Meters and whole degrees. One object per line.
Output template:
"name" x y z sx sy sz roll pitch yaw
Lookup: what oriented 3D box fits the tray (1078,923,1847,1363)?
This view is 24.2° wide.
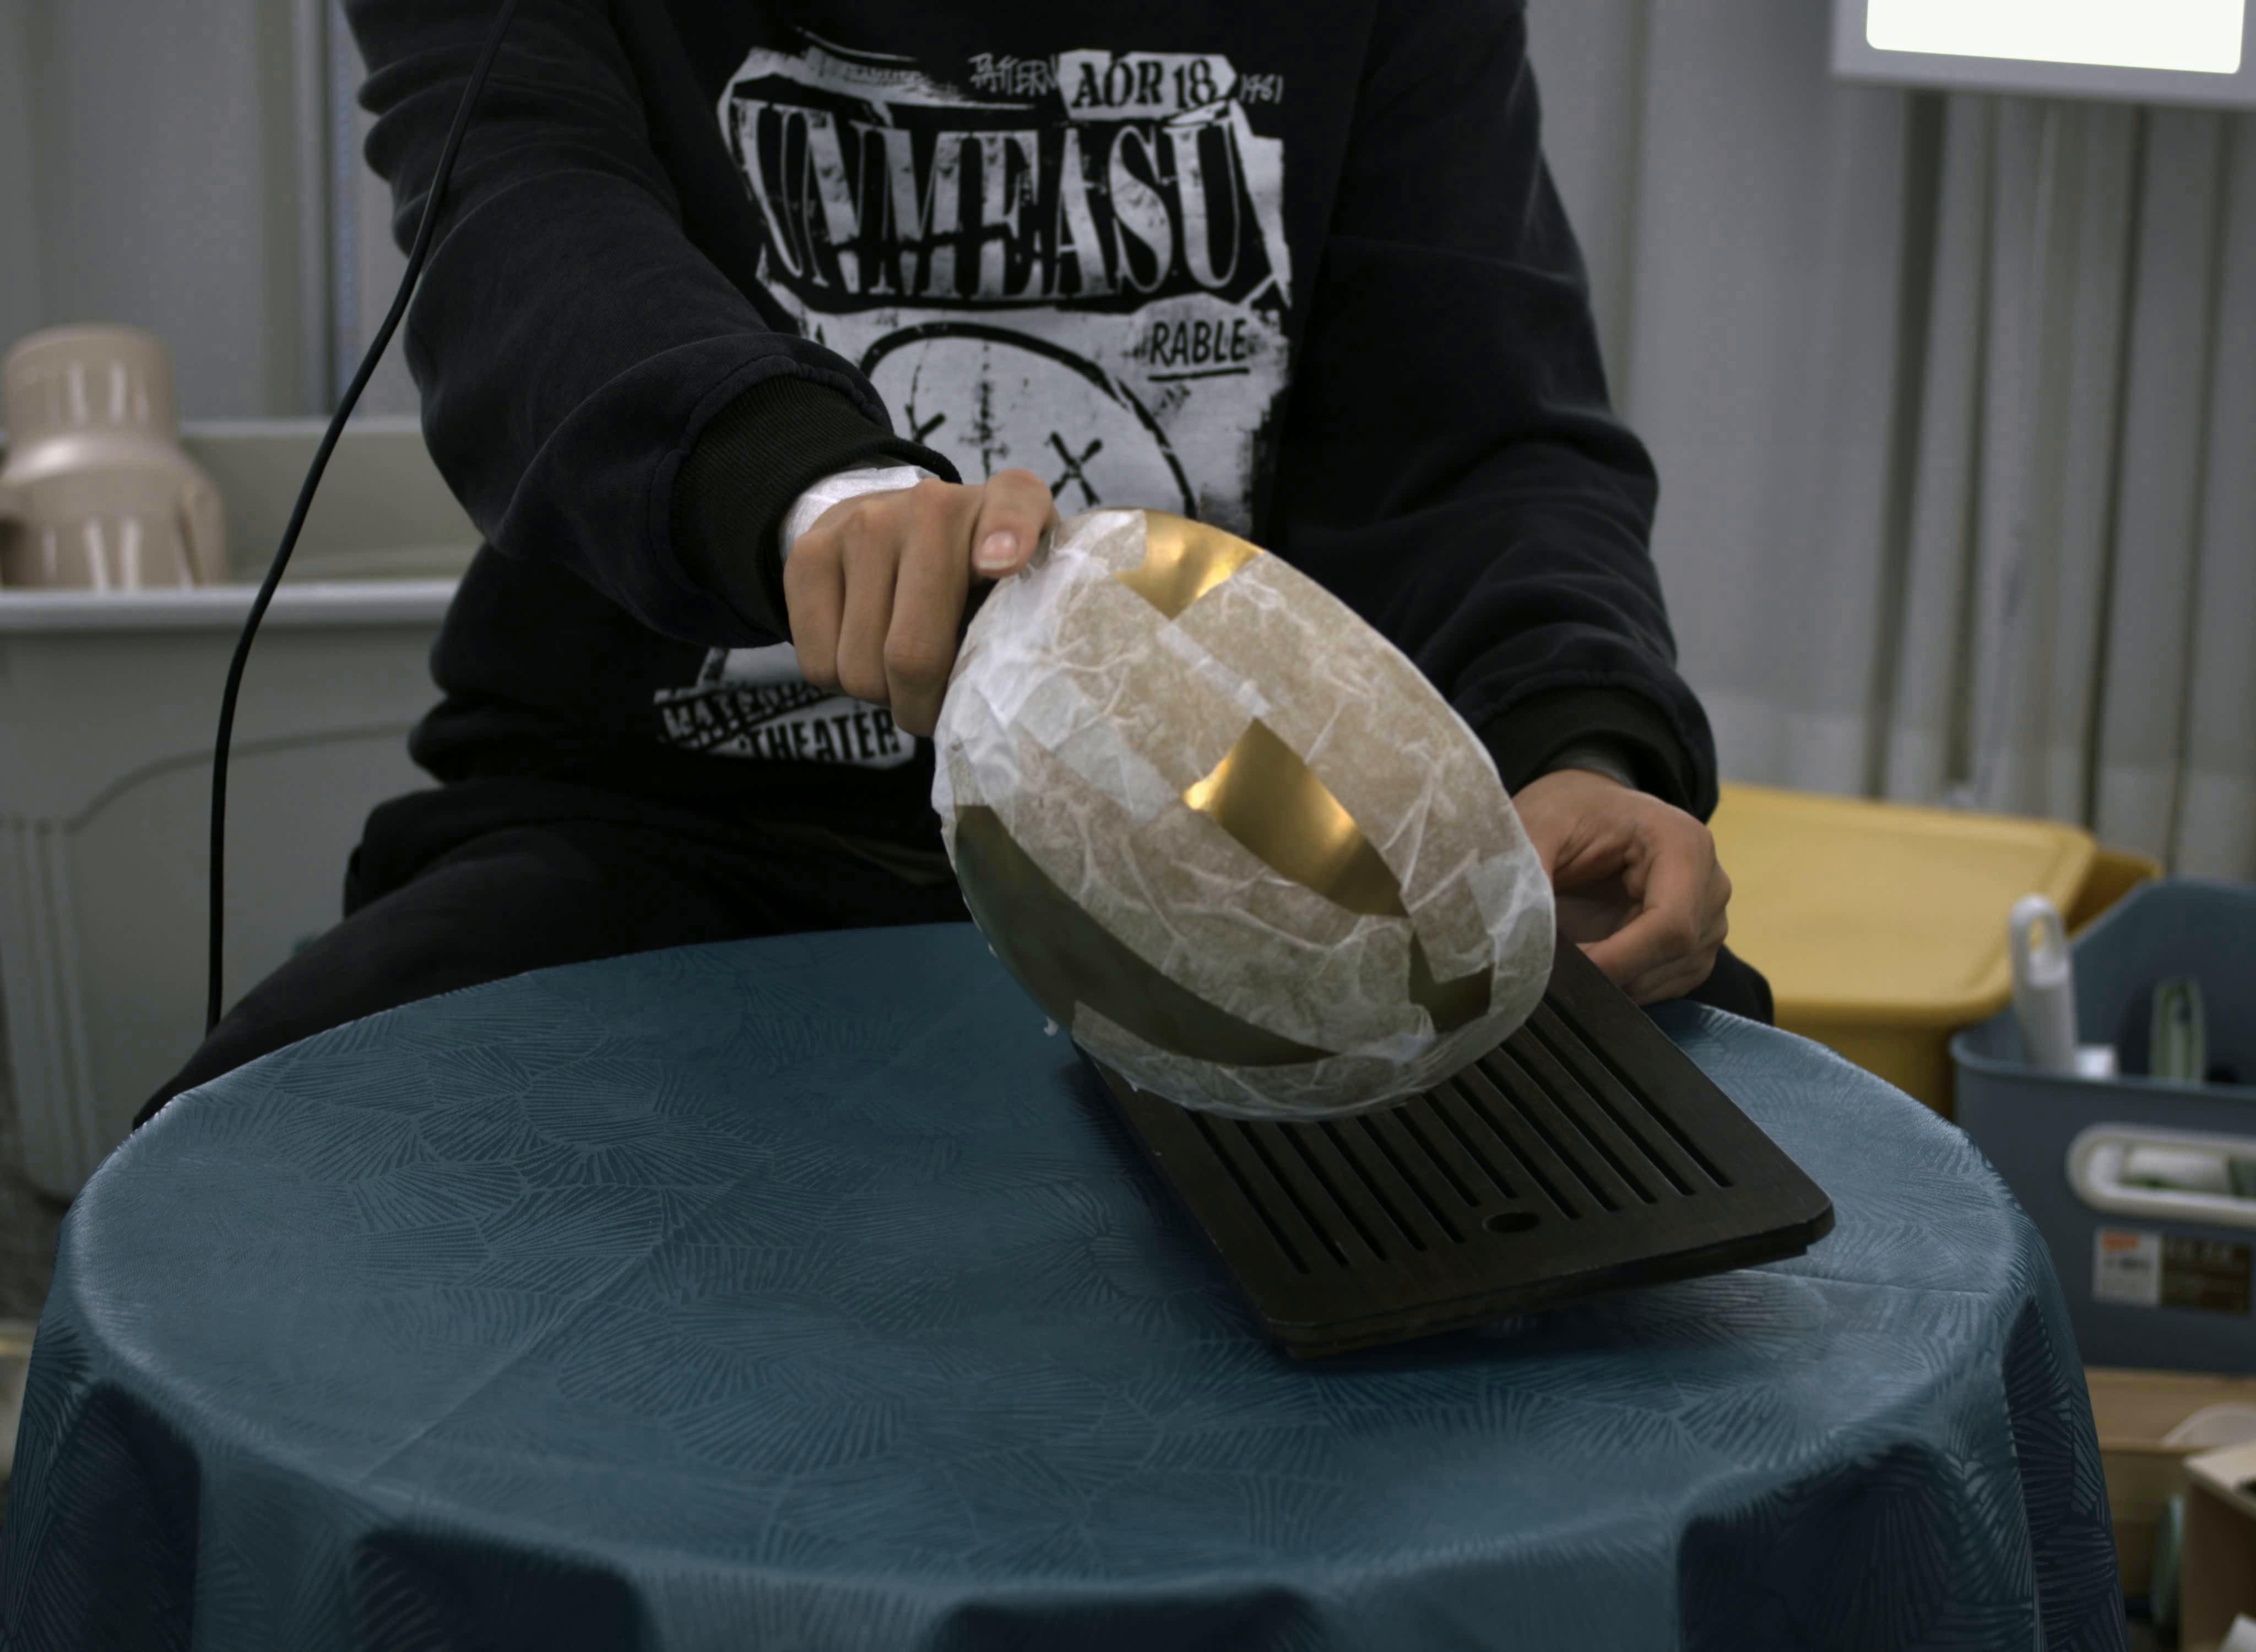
"tray" 0.095 0.094 1.627 0.170 0.019 0.303 -10 17 -10

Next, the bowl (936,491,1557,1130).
"bowl" 0.015 0.017 1.511 0.212 0.218 0.094 17 52 43
